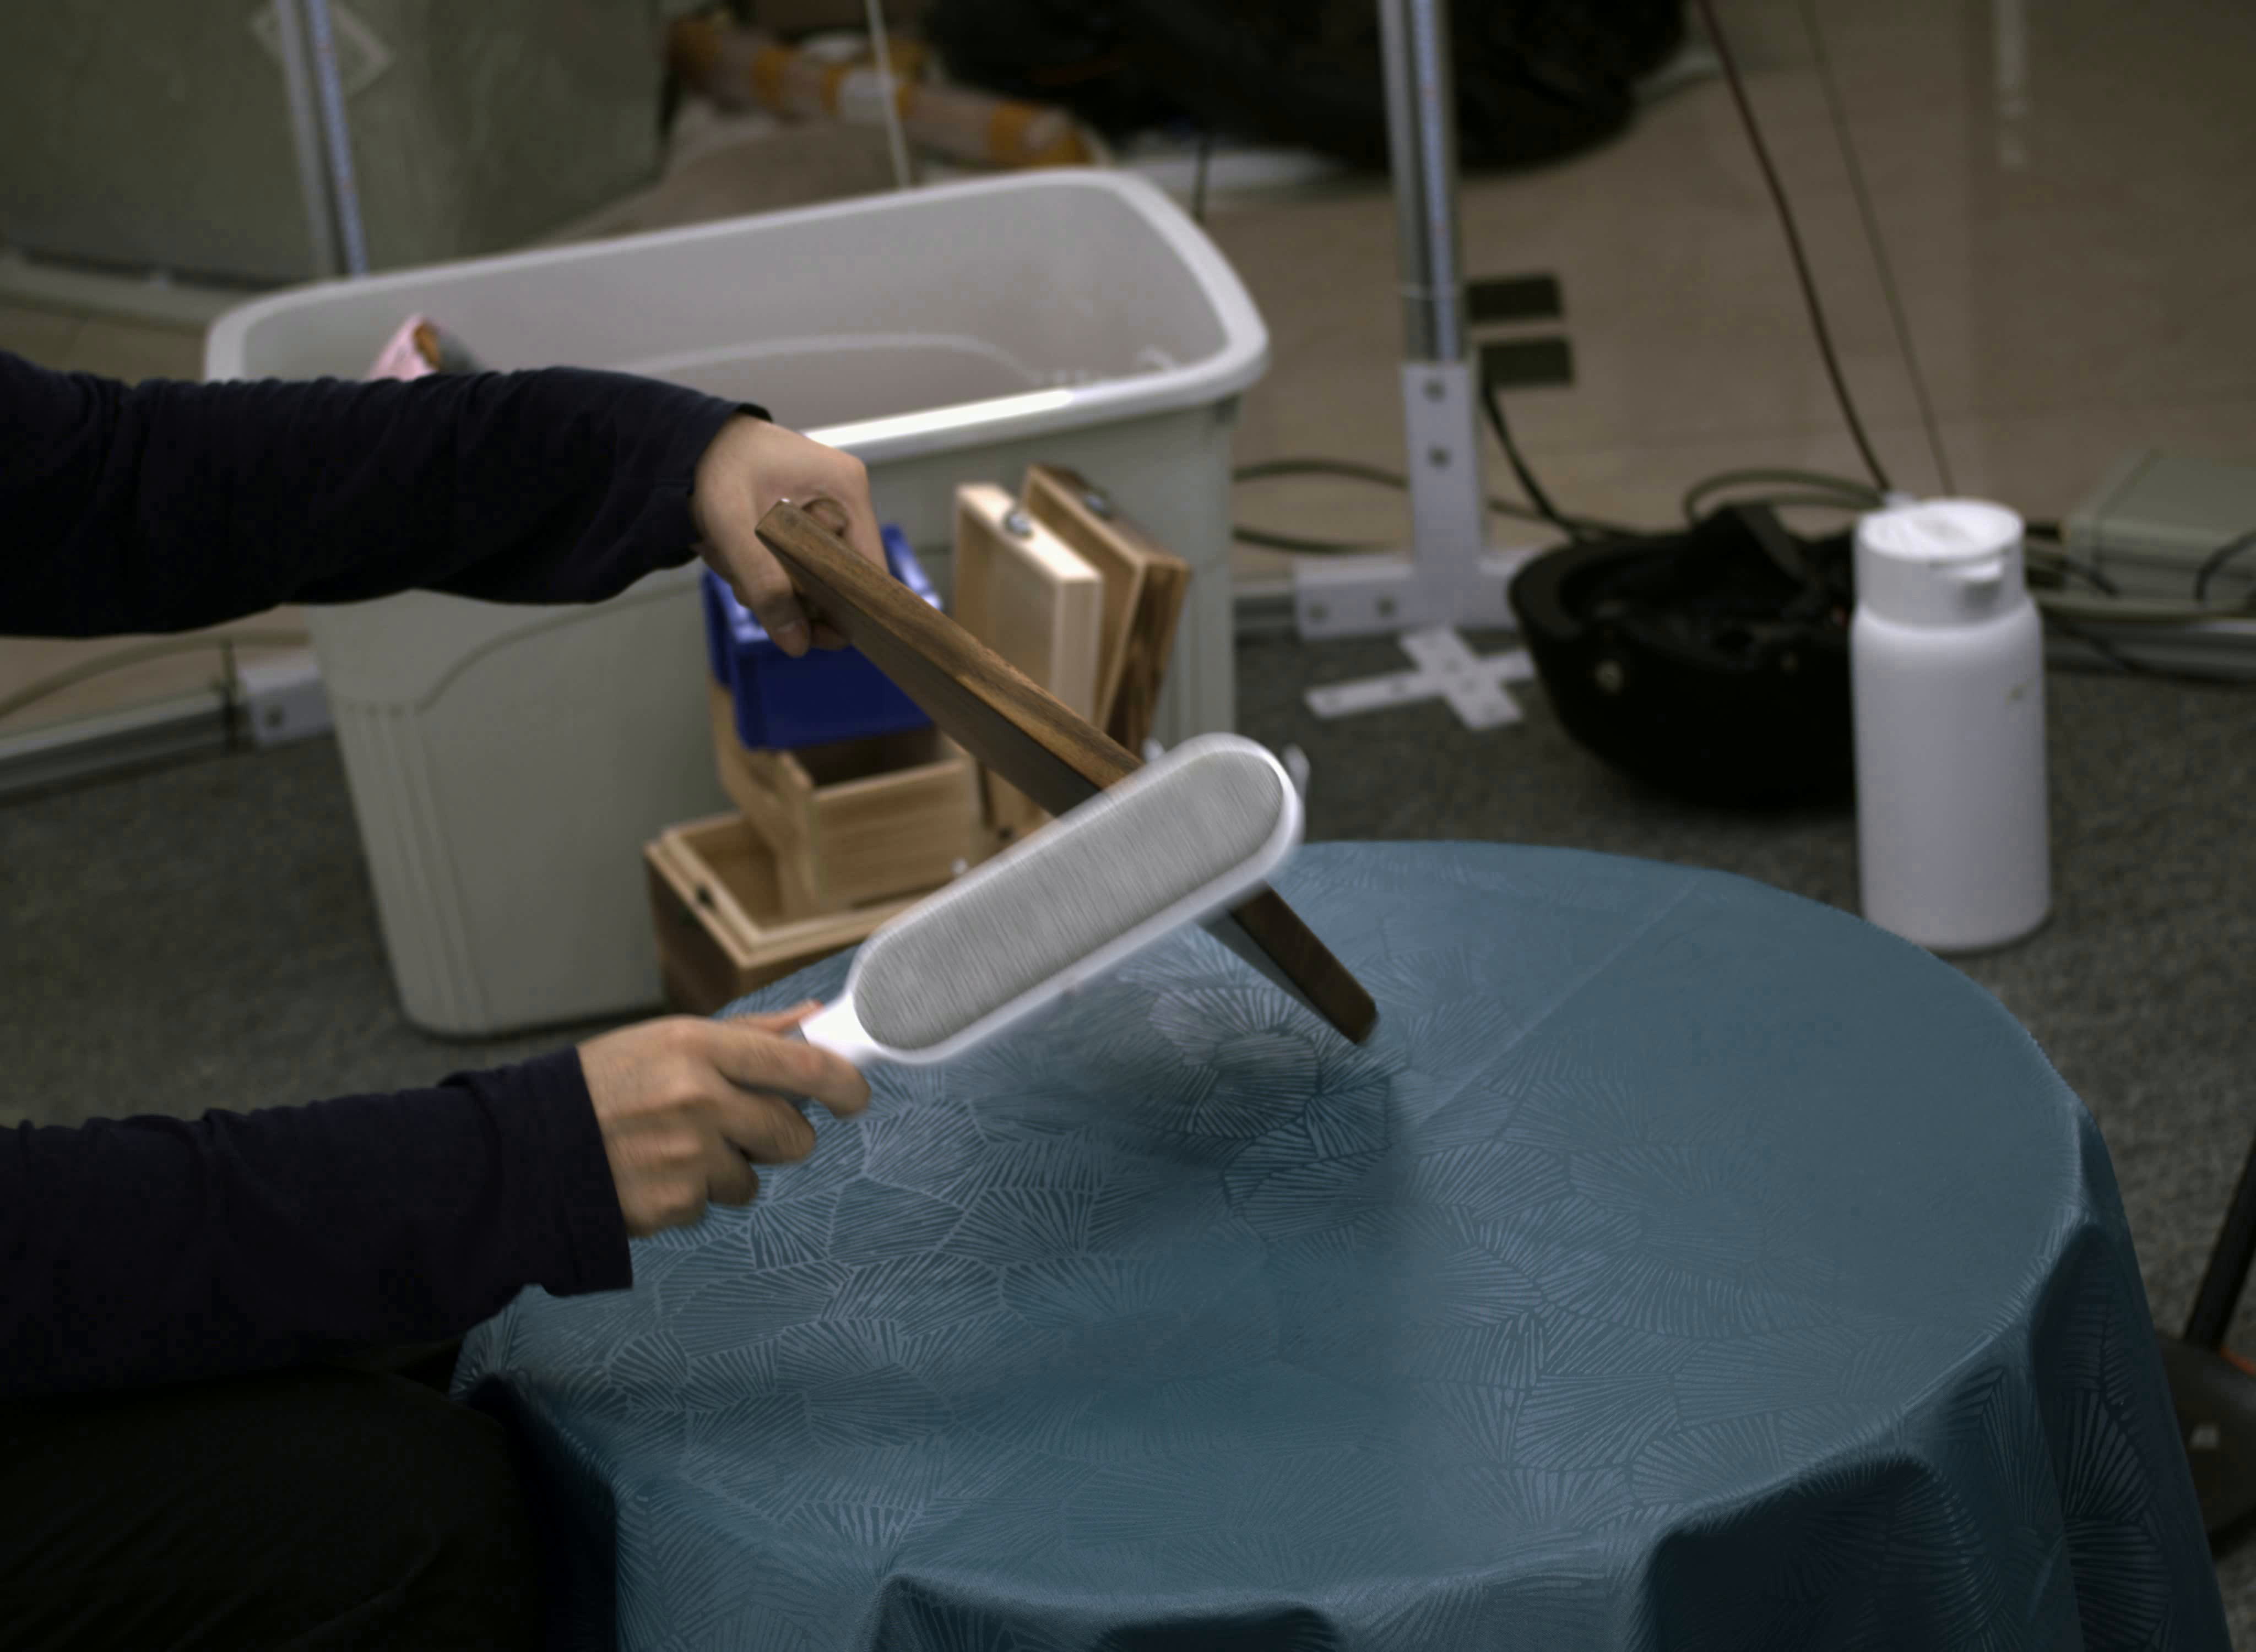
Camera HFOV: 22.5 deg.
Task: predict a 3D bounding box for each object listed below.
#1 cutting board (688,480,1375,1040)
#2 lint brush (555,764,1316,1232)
[{"bbox_3d":[-0.057,-0.046,2.246,0.348,0.203,0.023,37,85,34],"label":"cutting board"},{"bbox_3d":[-0.071,0.065,2.026,0.309,0.059,0.021,-29,-18,8],"label":"lint brush"}]
